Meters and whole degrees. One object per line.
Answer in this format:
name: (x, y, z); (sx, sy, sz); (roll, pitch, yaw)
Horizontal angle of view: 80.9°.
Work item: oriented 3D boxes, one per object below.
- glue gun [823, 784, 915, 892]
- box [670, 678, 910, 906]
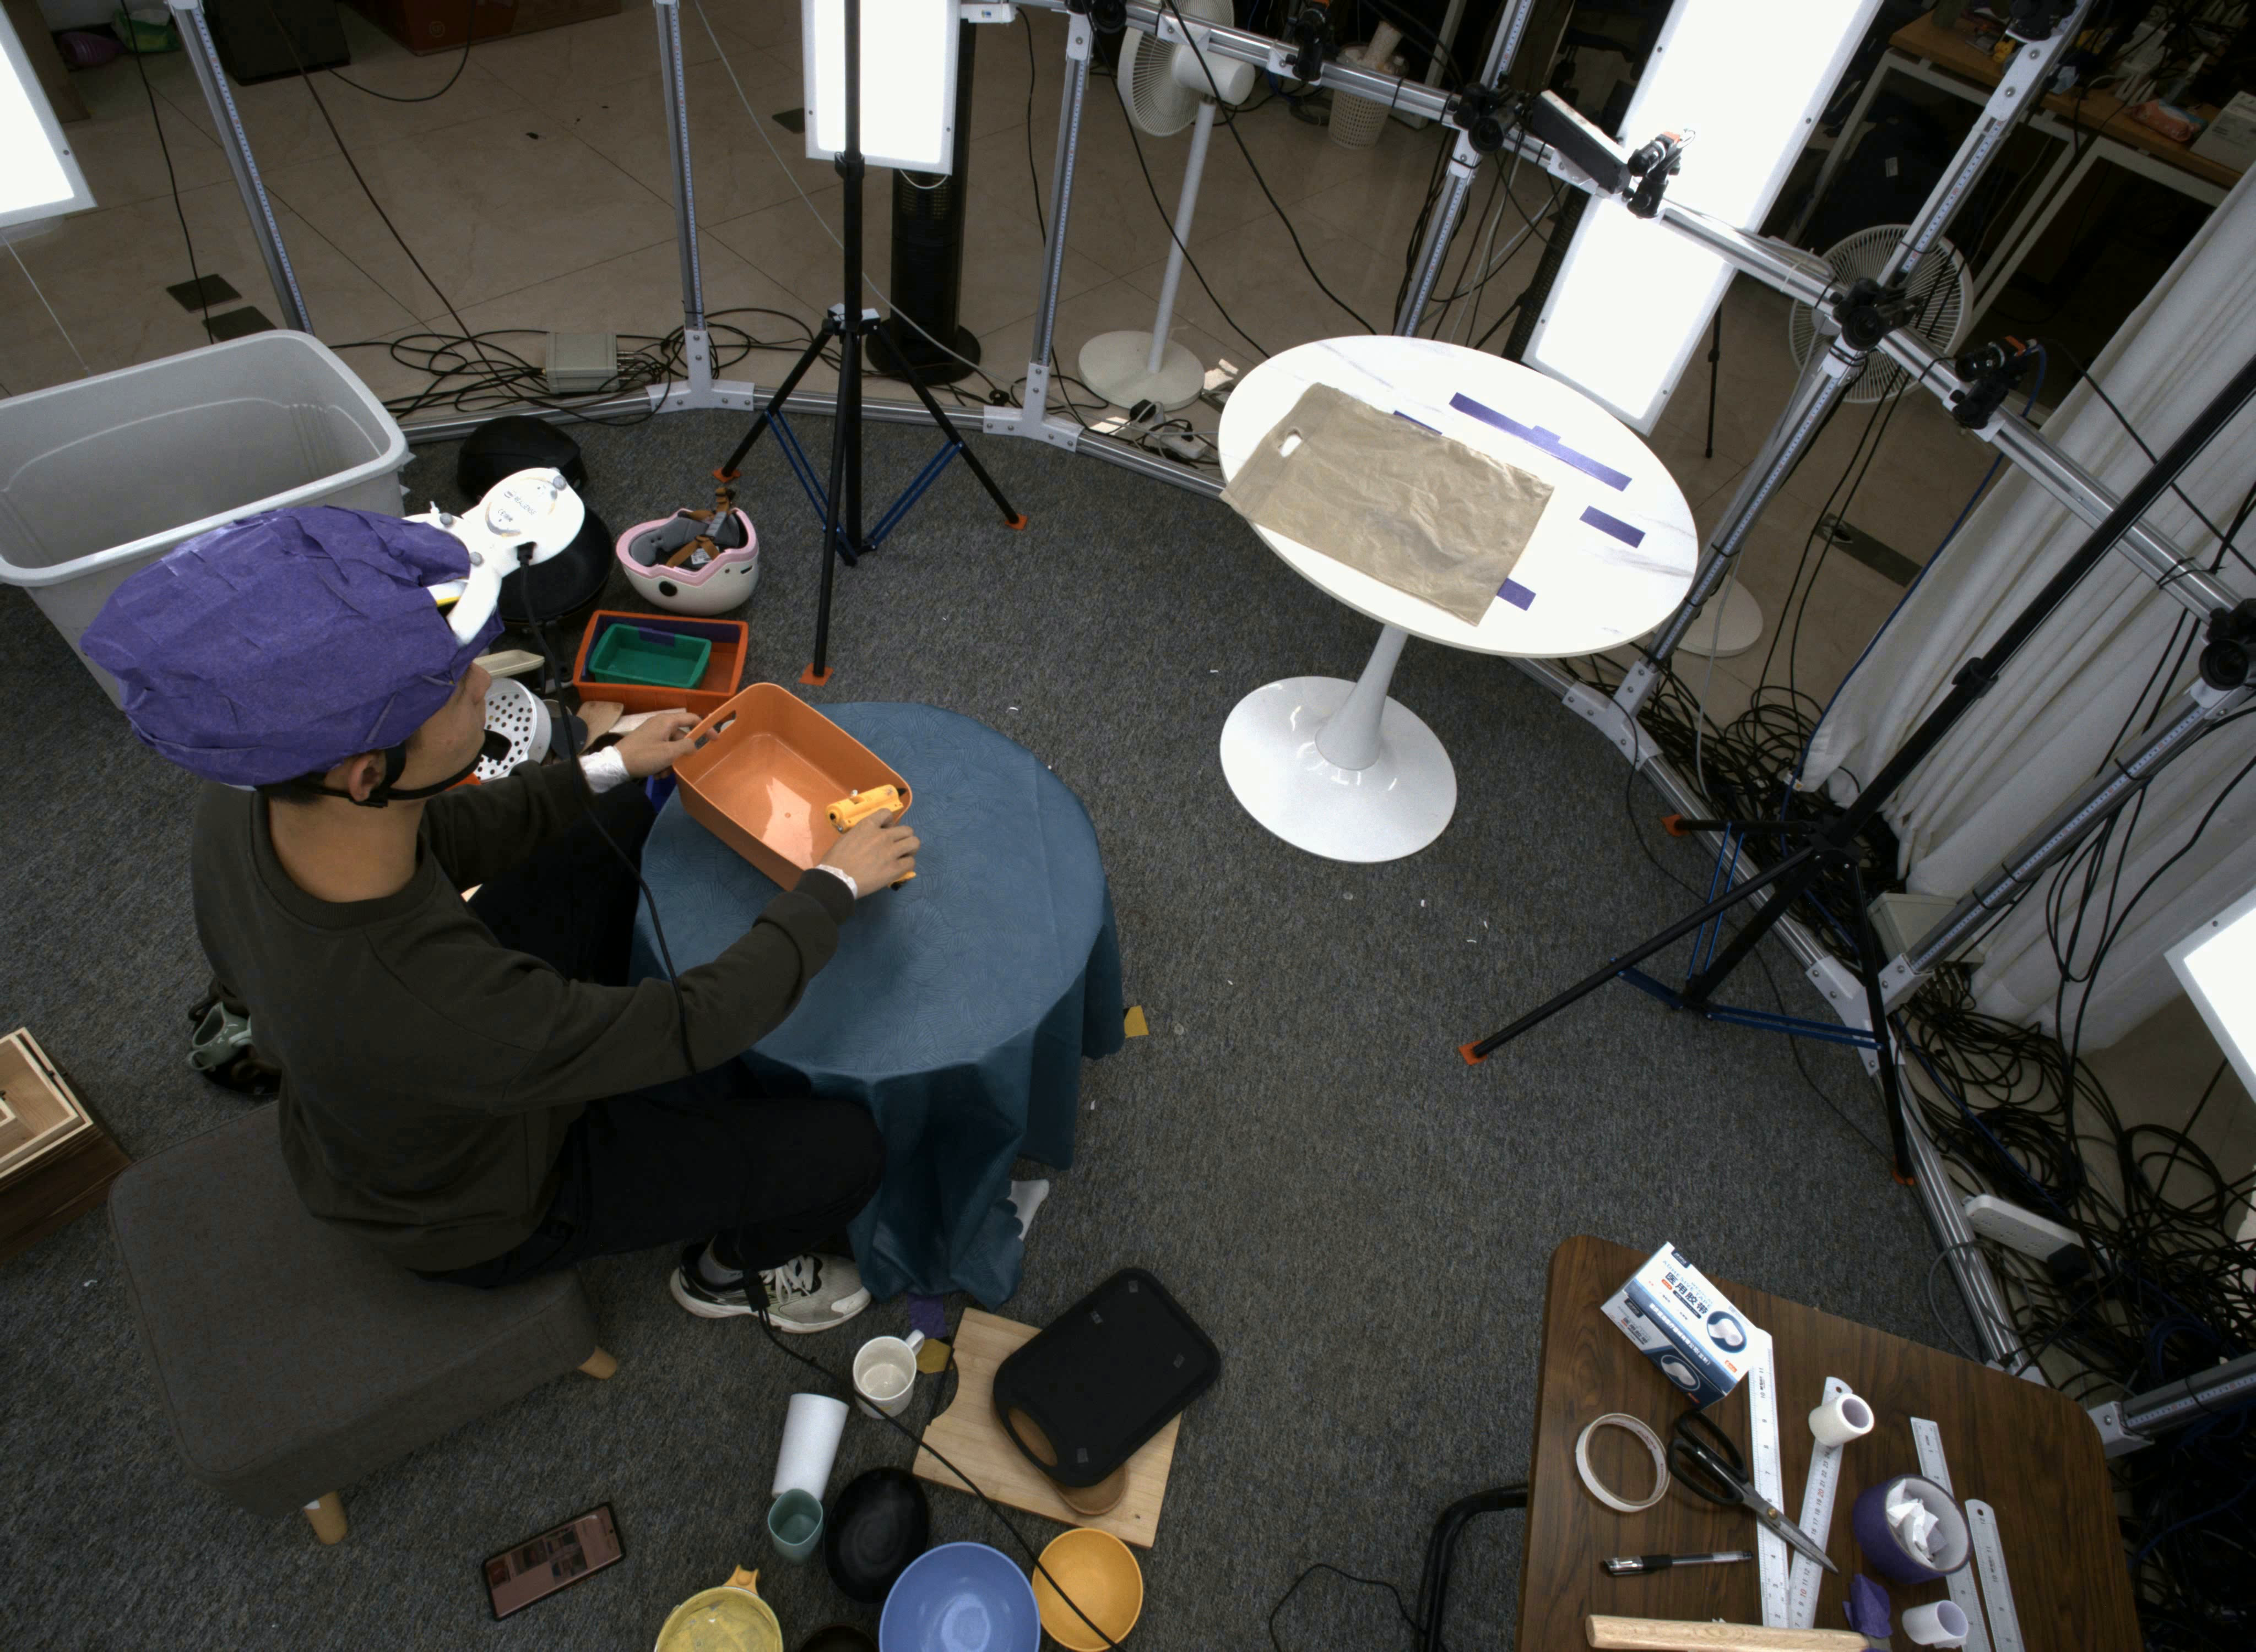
glue gun: (-0.289, 0.004, 1.604); (0.133, 0.031, 0.151); (49, 30, 0)
box: (-0.435, -0.038, 1.659); (0.272, 0.103, 0.199); (37, 55, 2)
